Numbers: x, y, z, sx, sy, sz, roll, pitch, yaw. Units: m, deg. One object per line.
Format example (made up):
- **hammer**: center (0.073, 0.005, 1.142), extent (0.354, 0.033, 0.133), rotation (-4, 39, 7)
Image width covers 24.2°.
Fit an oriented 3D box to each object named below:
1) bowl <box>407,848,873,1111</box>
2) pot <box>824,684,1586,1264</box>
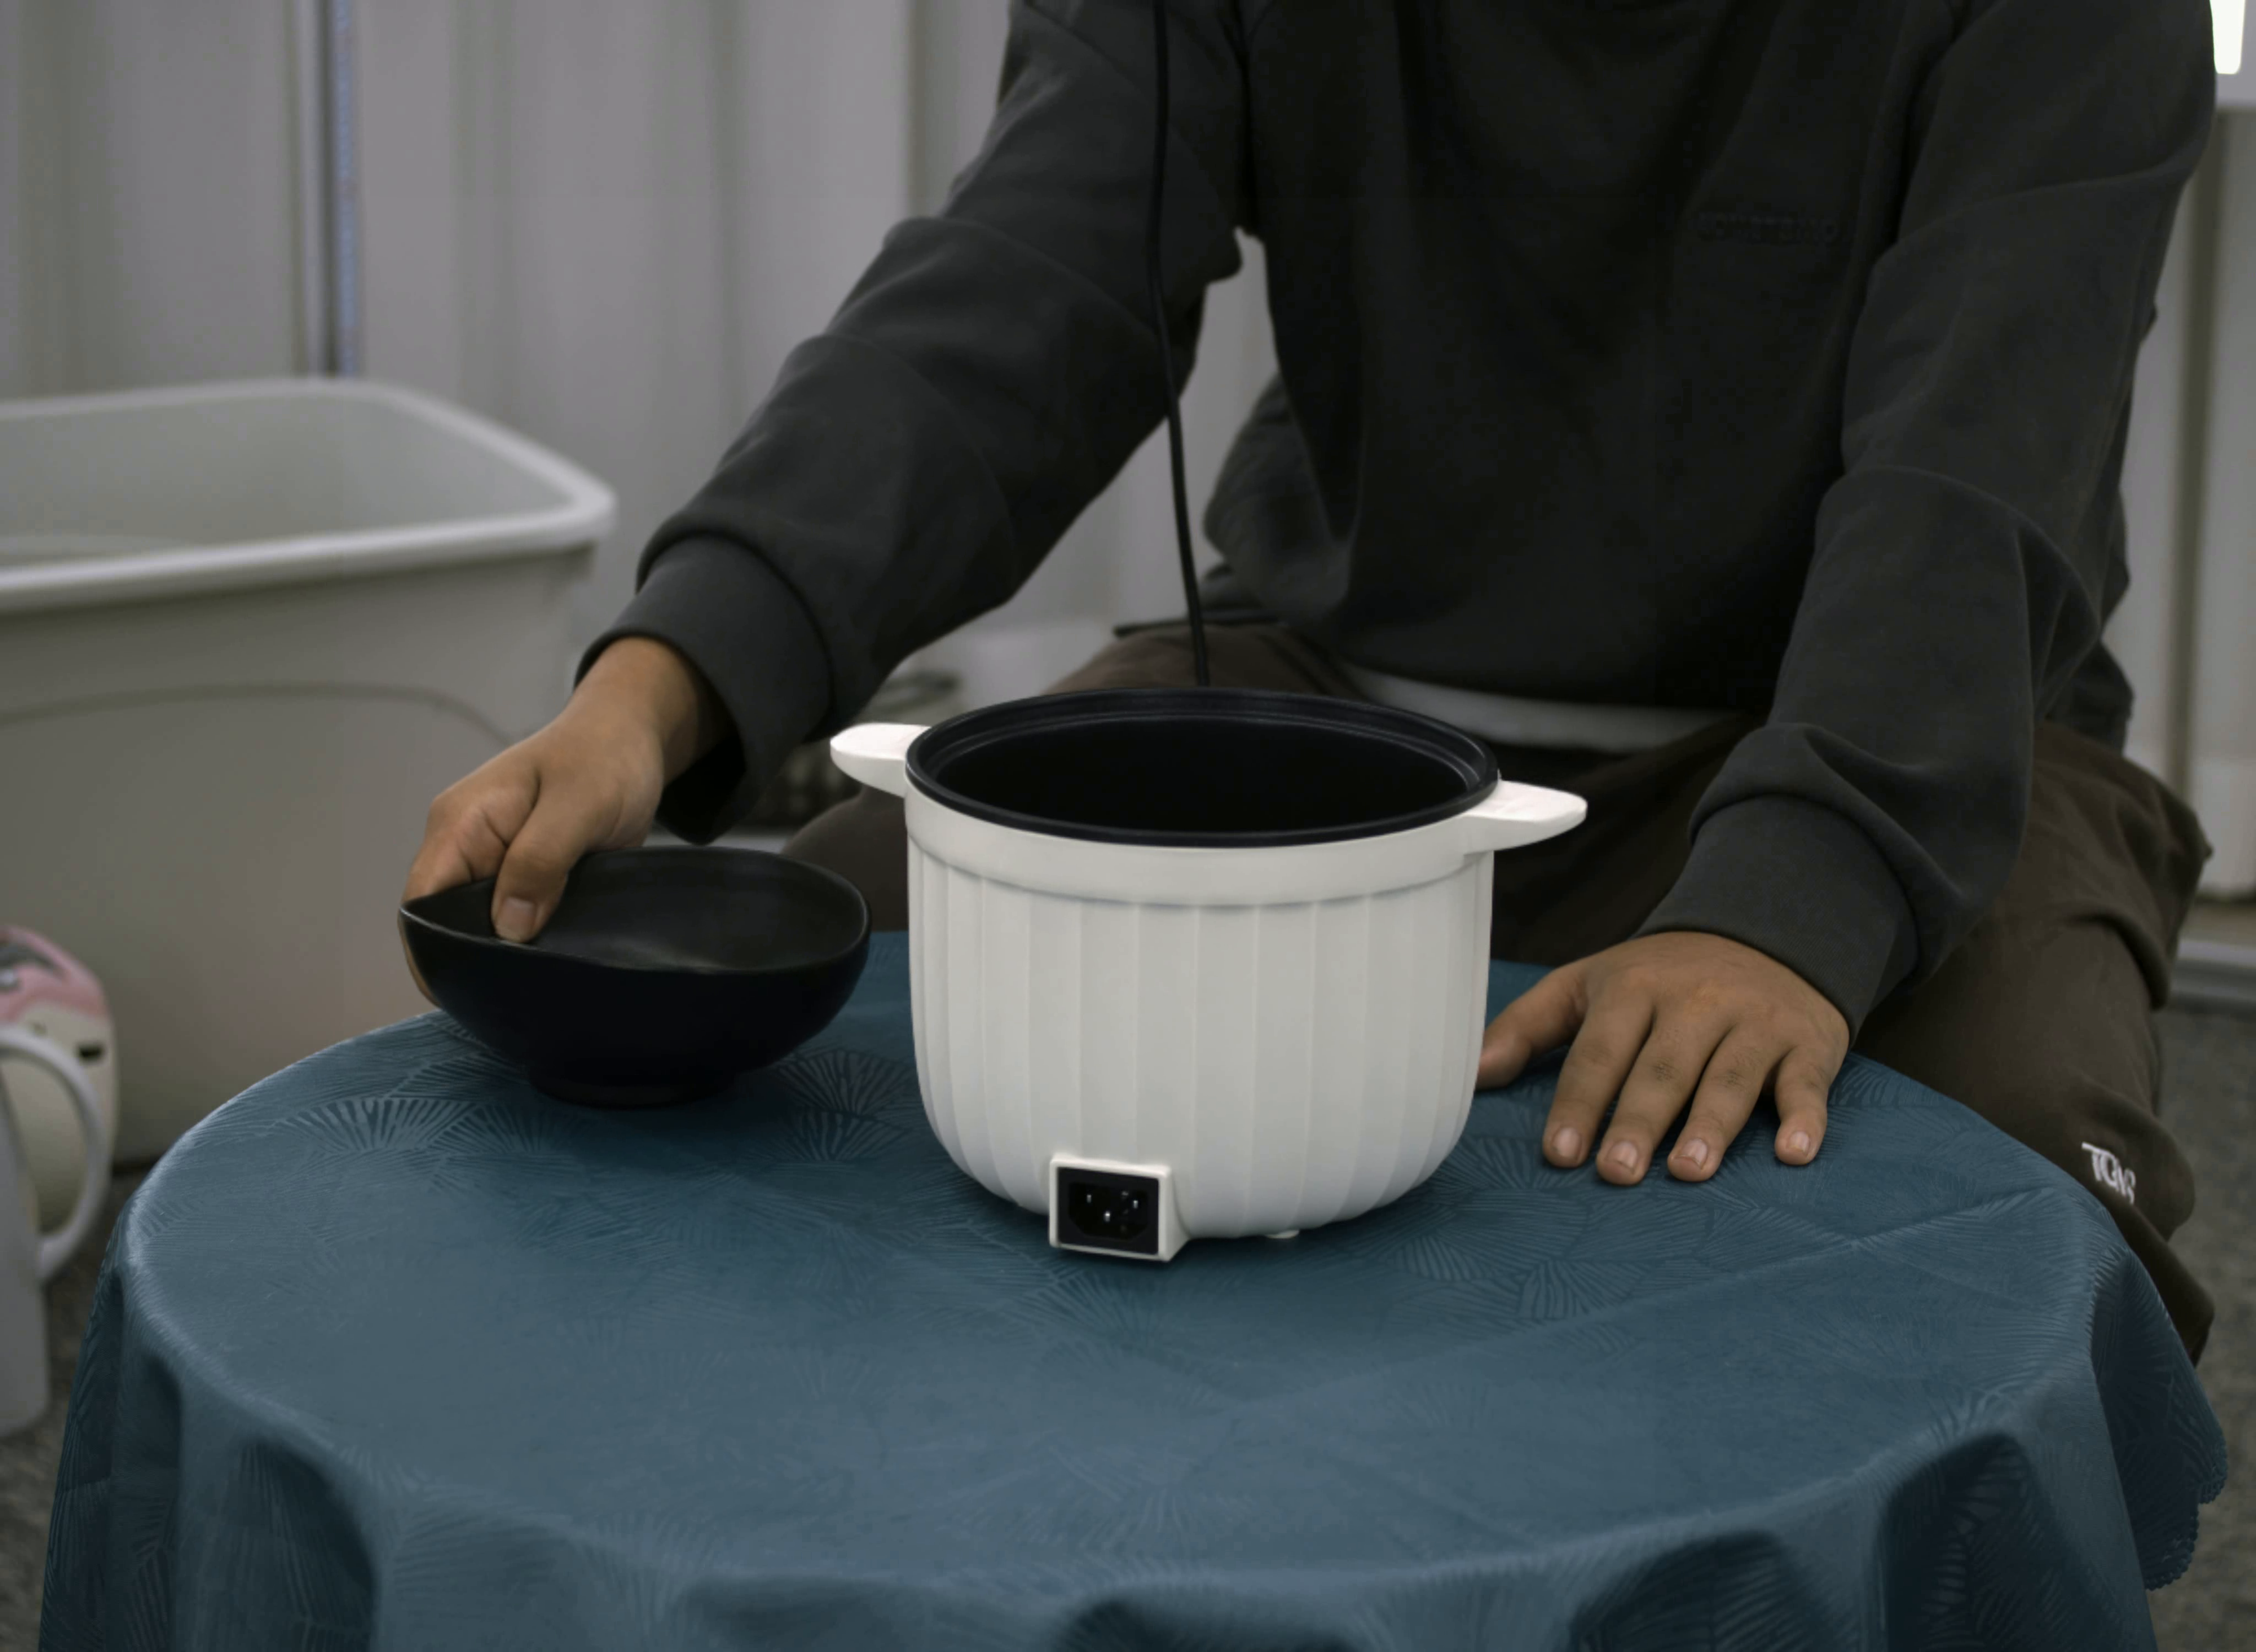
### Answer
- **bowl**: center (-0.160, 0.053, 1.713), extent (0.168, 0.067, 0.138), rotation (10, 18, 36)
- **pot**: center (0.022, 0.042, 1.624), extent (0.238, 0.144, 0.190), rotation (6, 20, 16)
